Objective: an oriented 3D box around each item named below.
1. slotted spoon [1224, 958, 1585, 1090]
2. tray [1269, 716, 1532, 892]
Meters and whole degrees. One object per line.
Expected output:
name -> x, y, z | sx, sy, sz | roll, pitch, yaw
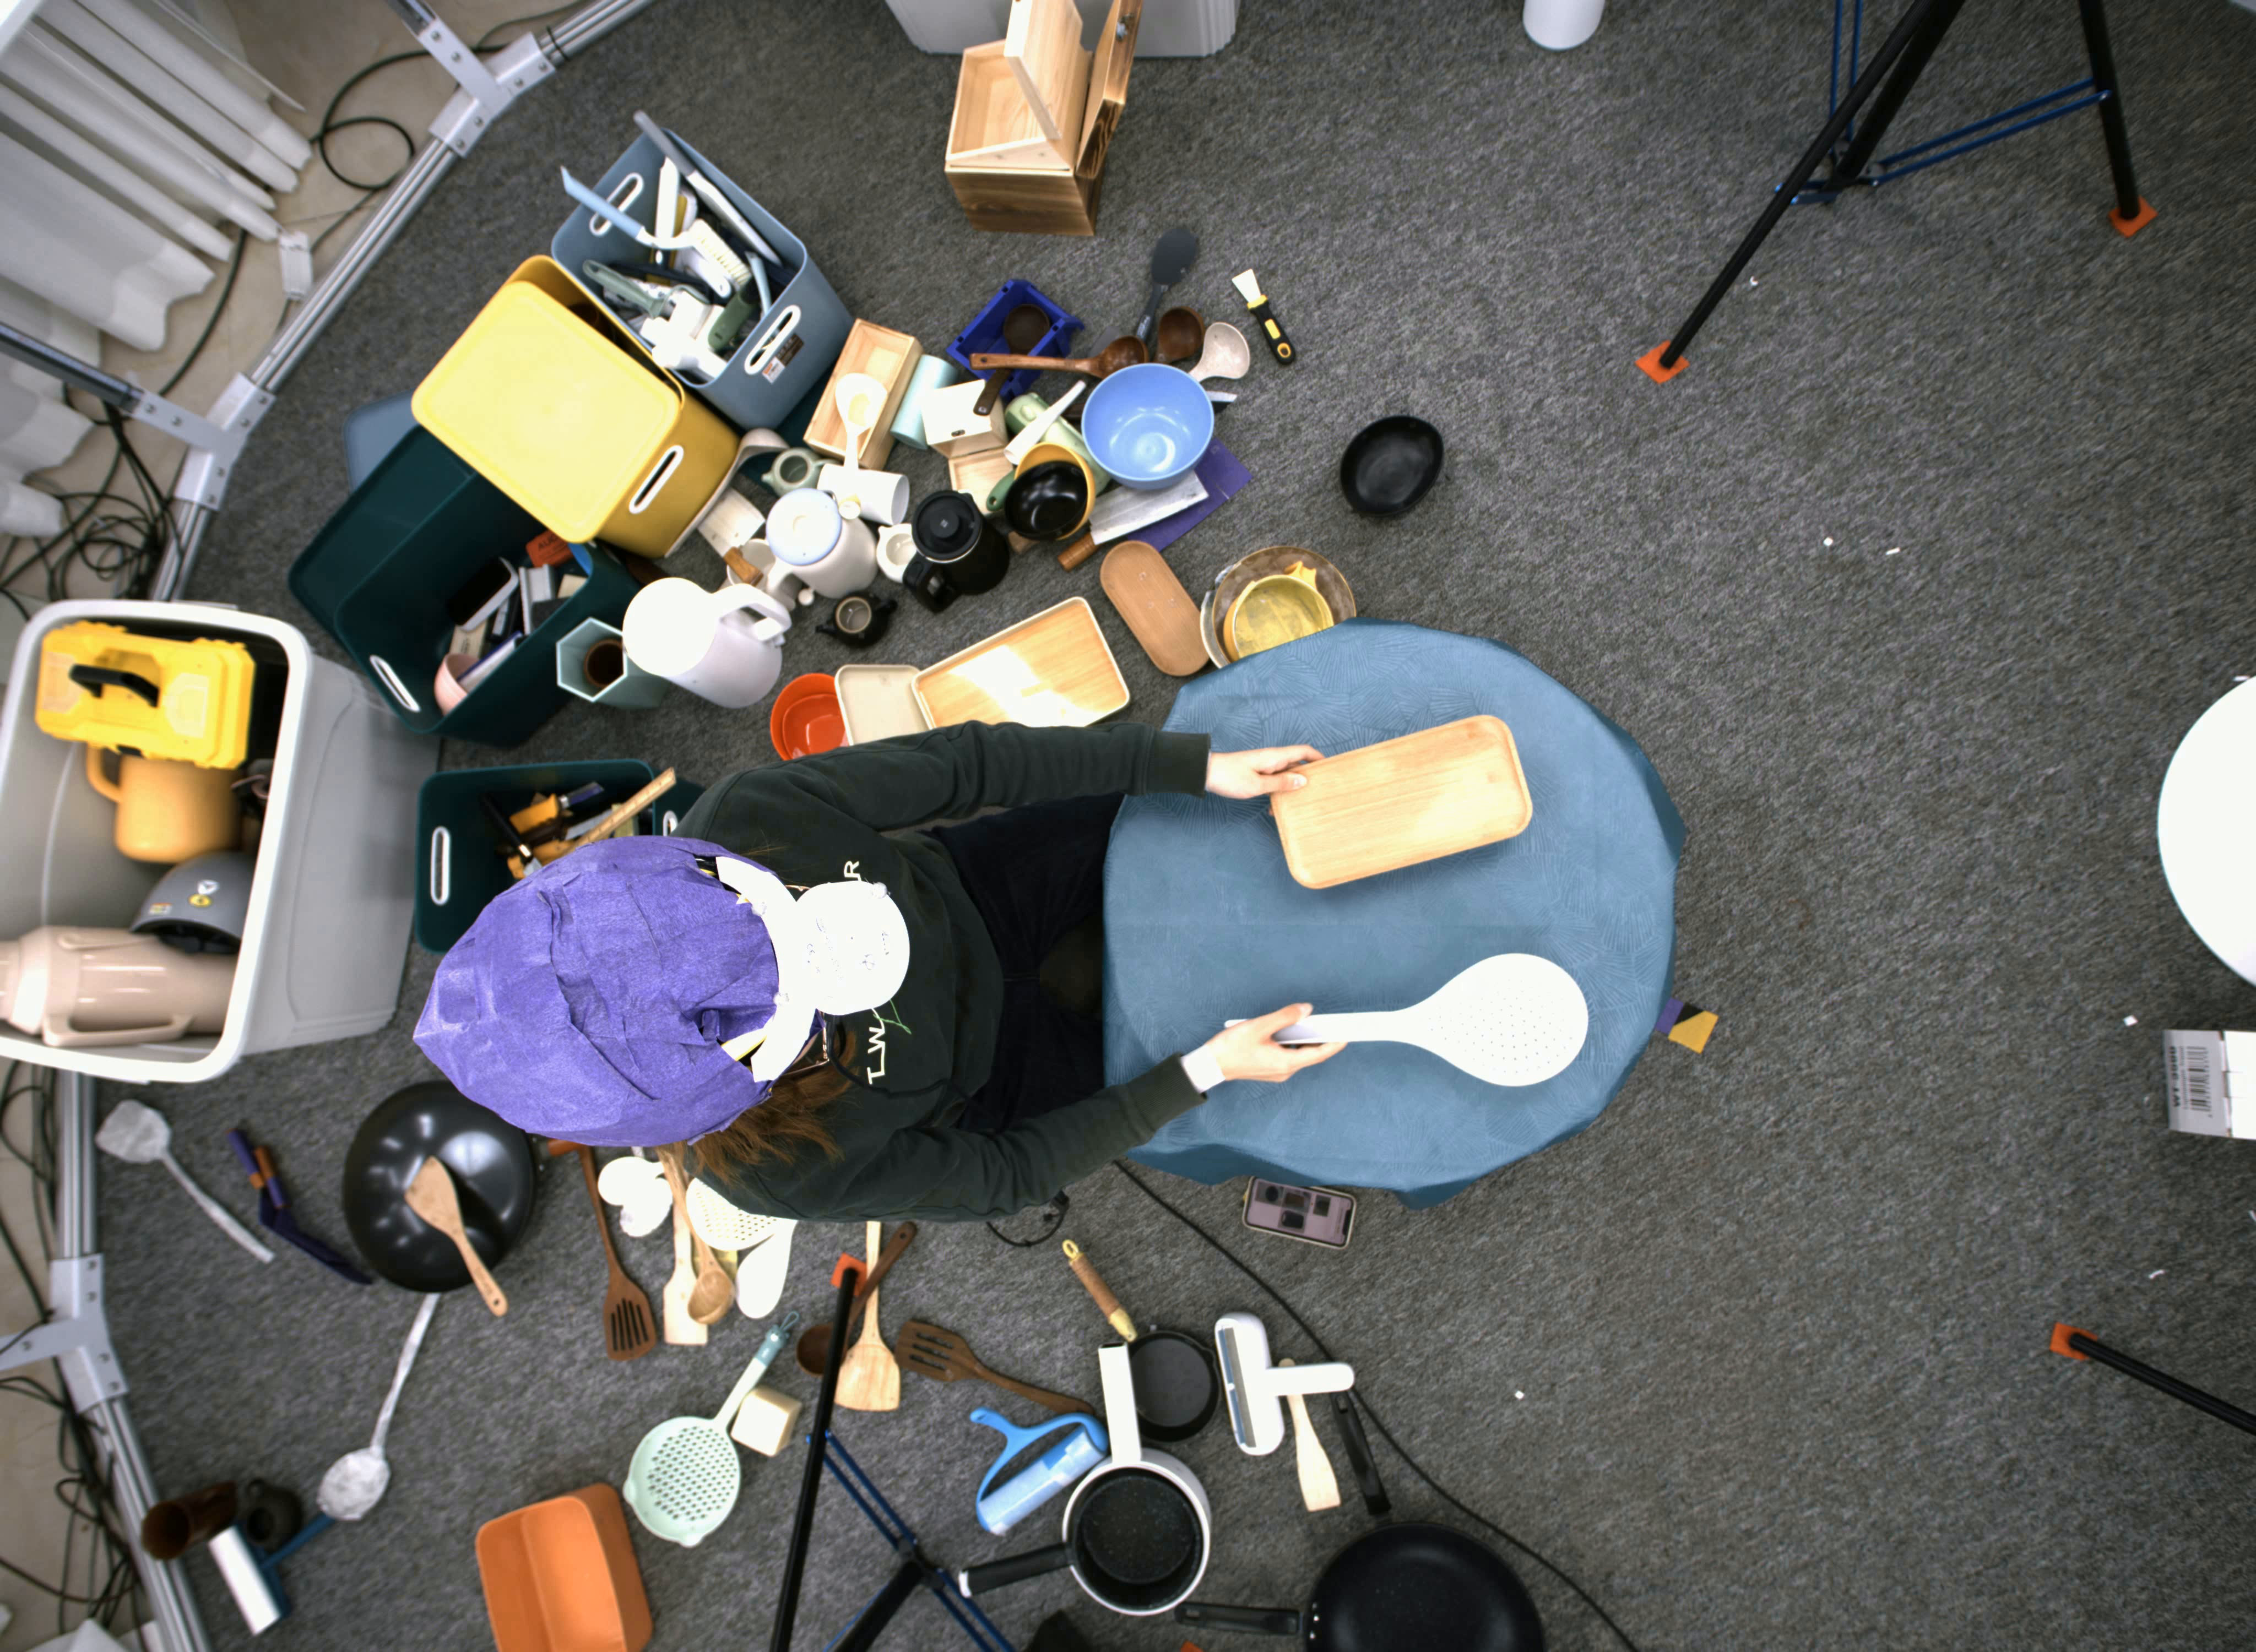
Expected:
slotted spoon -> 0.269, 0.198, 1.369 | 0.351, 0.045, 0.137 | -6, 105, 9
tray -> 0.274, -0.023, 1.395 | 0.252, 0.023, 0.130 | -16, 85, 11
